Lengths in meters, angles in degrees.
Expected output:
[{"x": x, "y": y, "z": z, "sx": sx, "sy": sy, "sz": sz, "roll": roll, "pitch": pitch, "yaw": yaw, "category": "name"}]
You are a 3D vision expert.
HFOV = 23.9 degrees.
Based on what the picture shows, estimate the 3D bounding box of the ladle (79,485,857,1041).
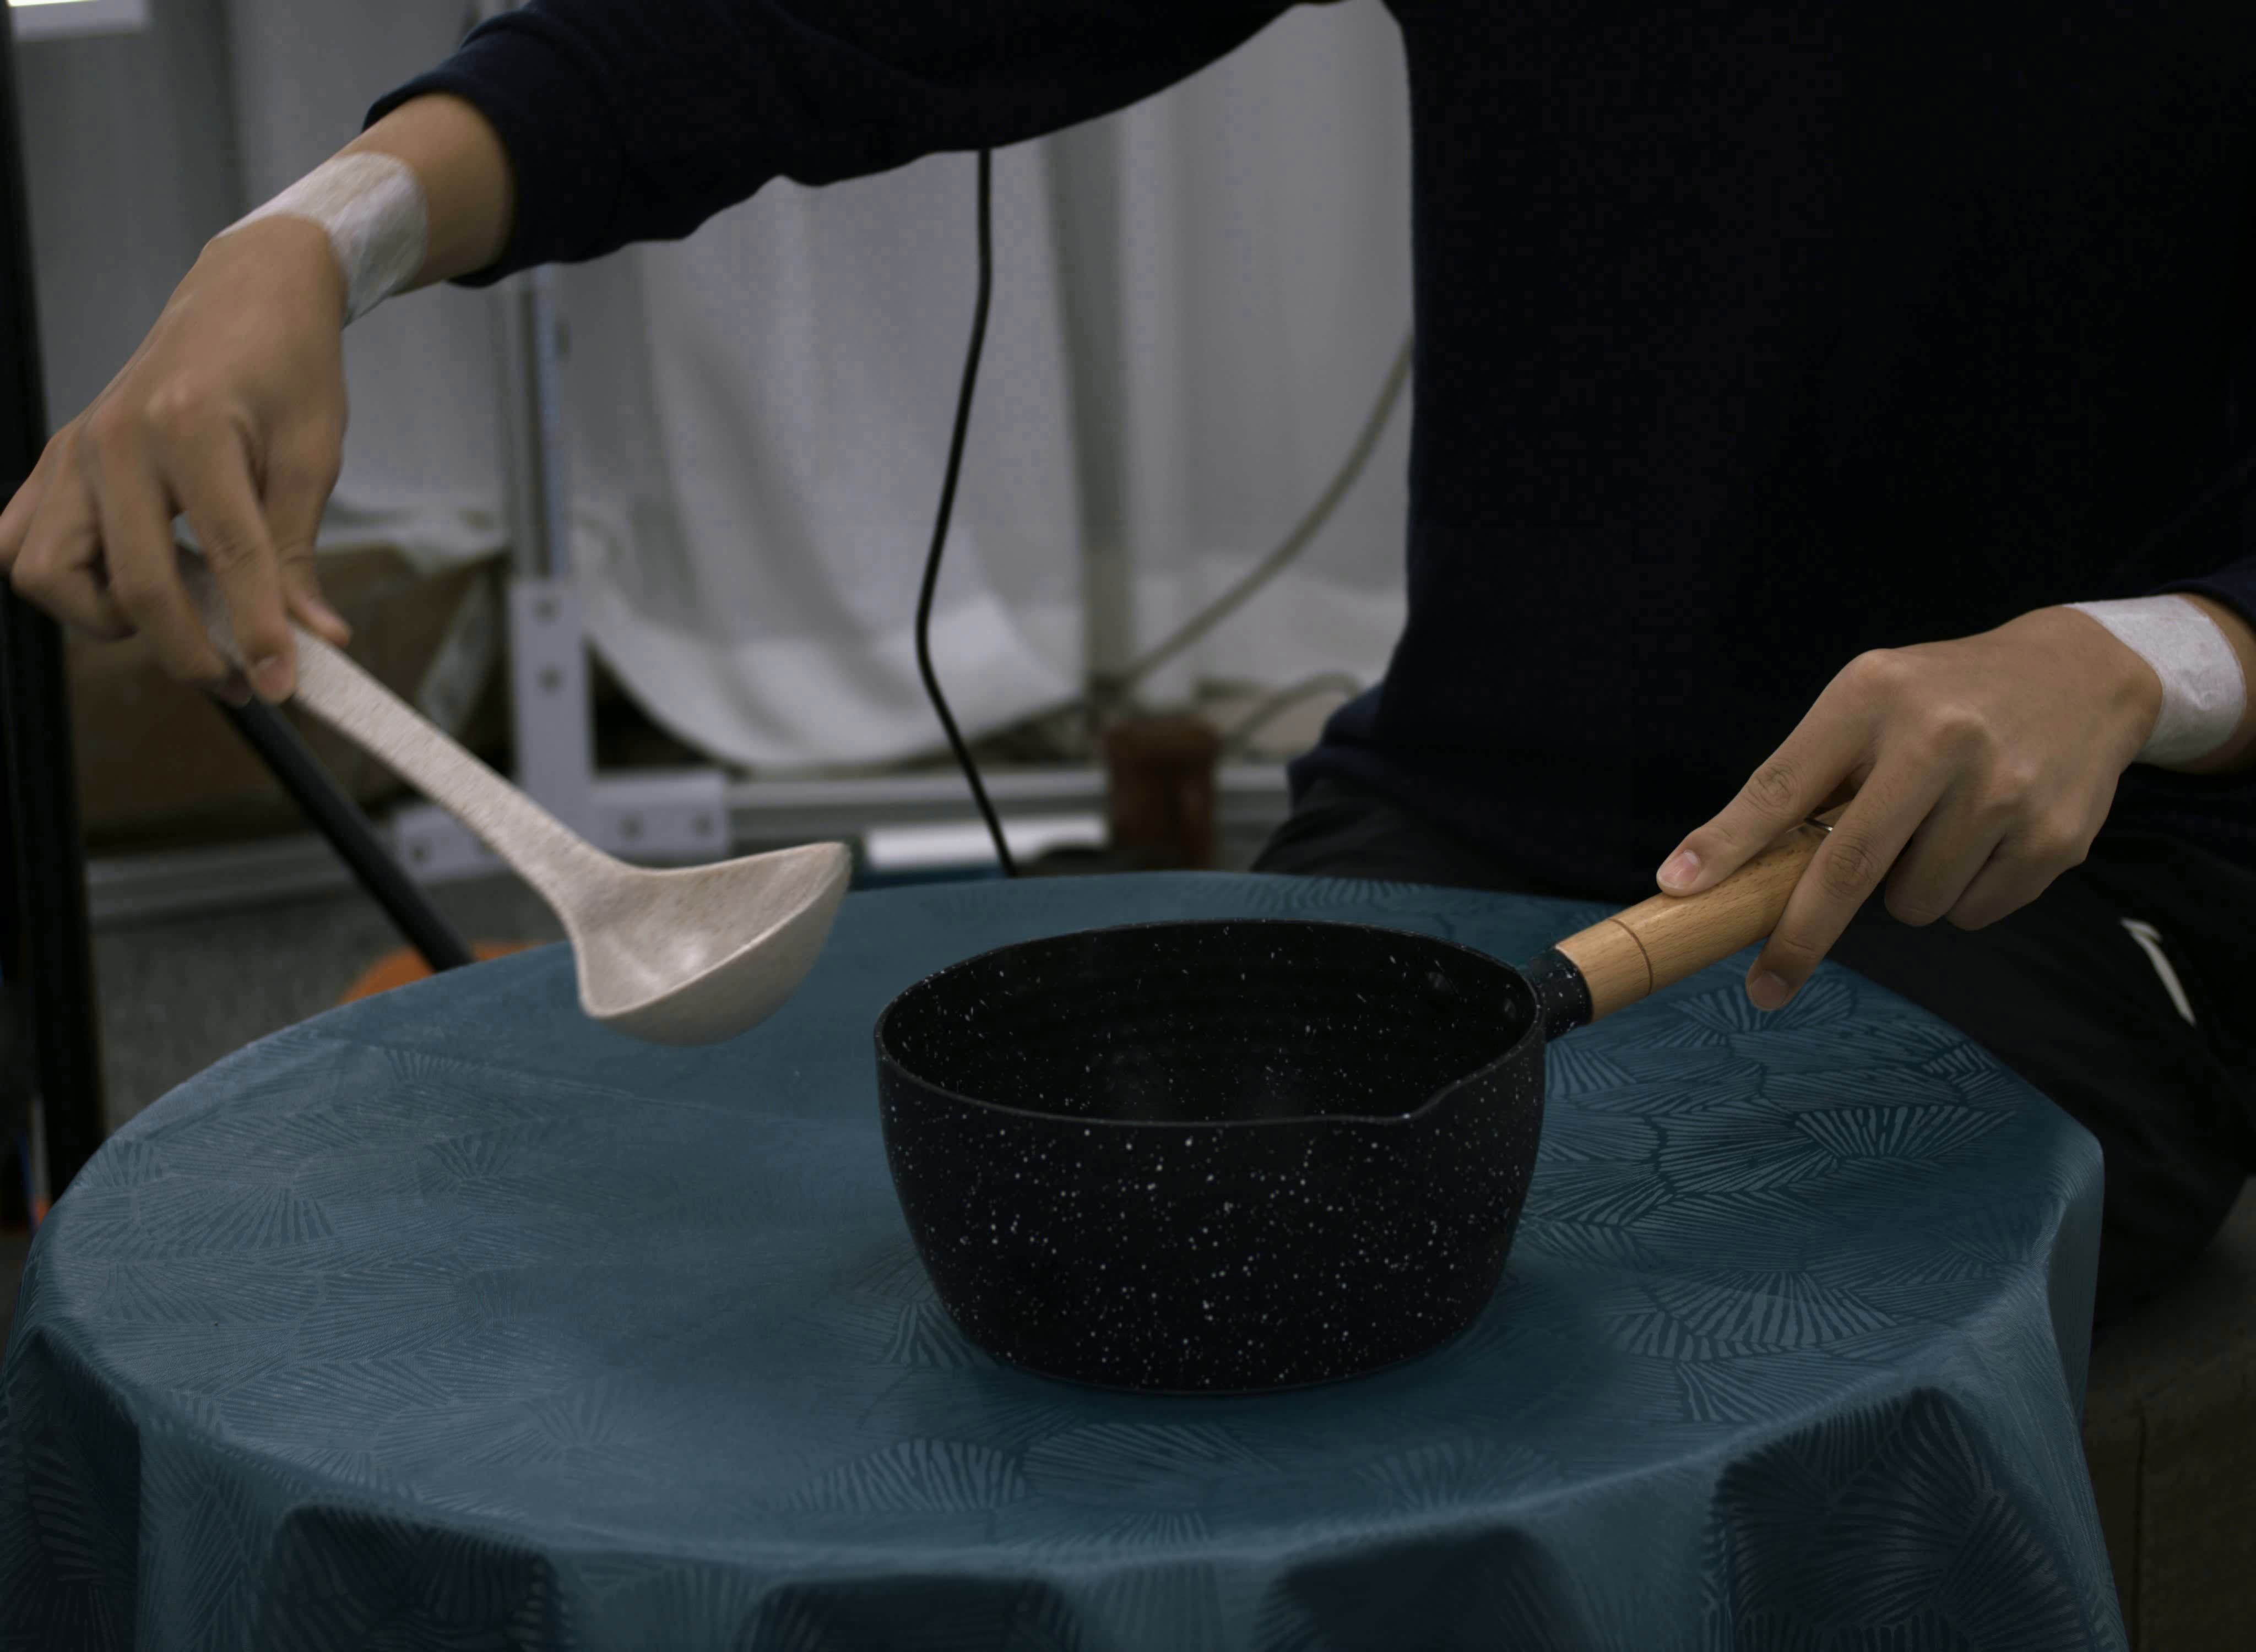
[{"x": -0.196, "y": -0.036, "z": 1.533, "sx": 0.278, "sy": 0.069, "sz": 0.088, "roll": 38, "pitch": 54, "yaw": 16, "category": "ladle"}]

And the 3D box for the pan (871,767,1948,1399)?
[{"x": 0.091, "y": 0.067, "z": 1.491, "sx": 0.335, "sy": 0.108, "sz": 0.212, "roll": -13, "pitch": 18, "yaw": -28, "category": "pan"}]
